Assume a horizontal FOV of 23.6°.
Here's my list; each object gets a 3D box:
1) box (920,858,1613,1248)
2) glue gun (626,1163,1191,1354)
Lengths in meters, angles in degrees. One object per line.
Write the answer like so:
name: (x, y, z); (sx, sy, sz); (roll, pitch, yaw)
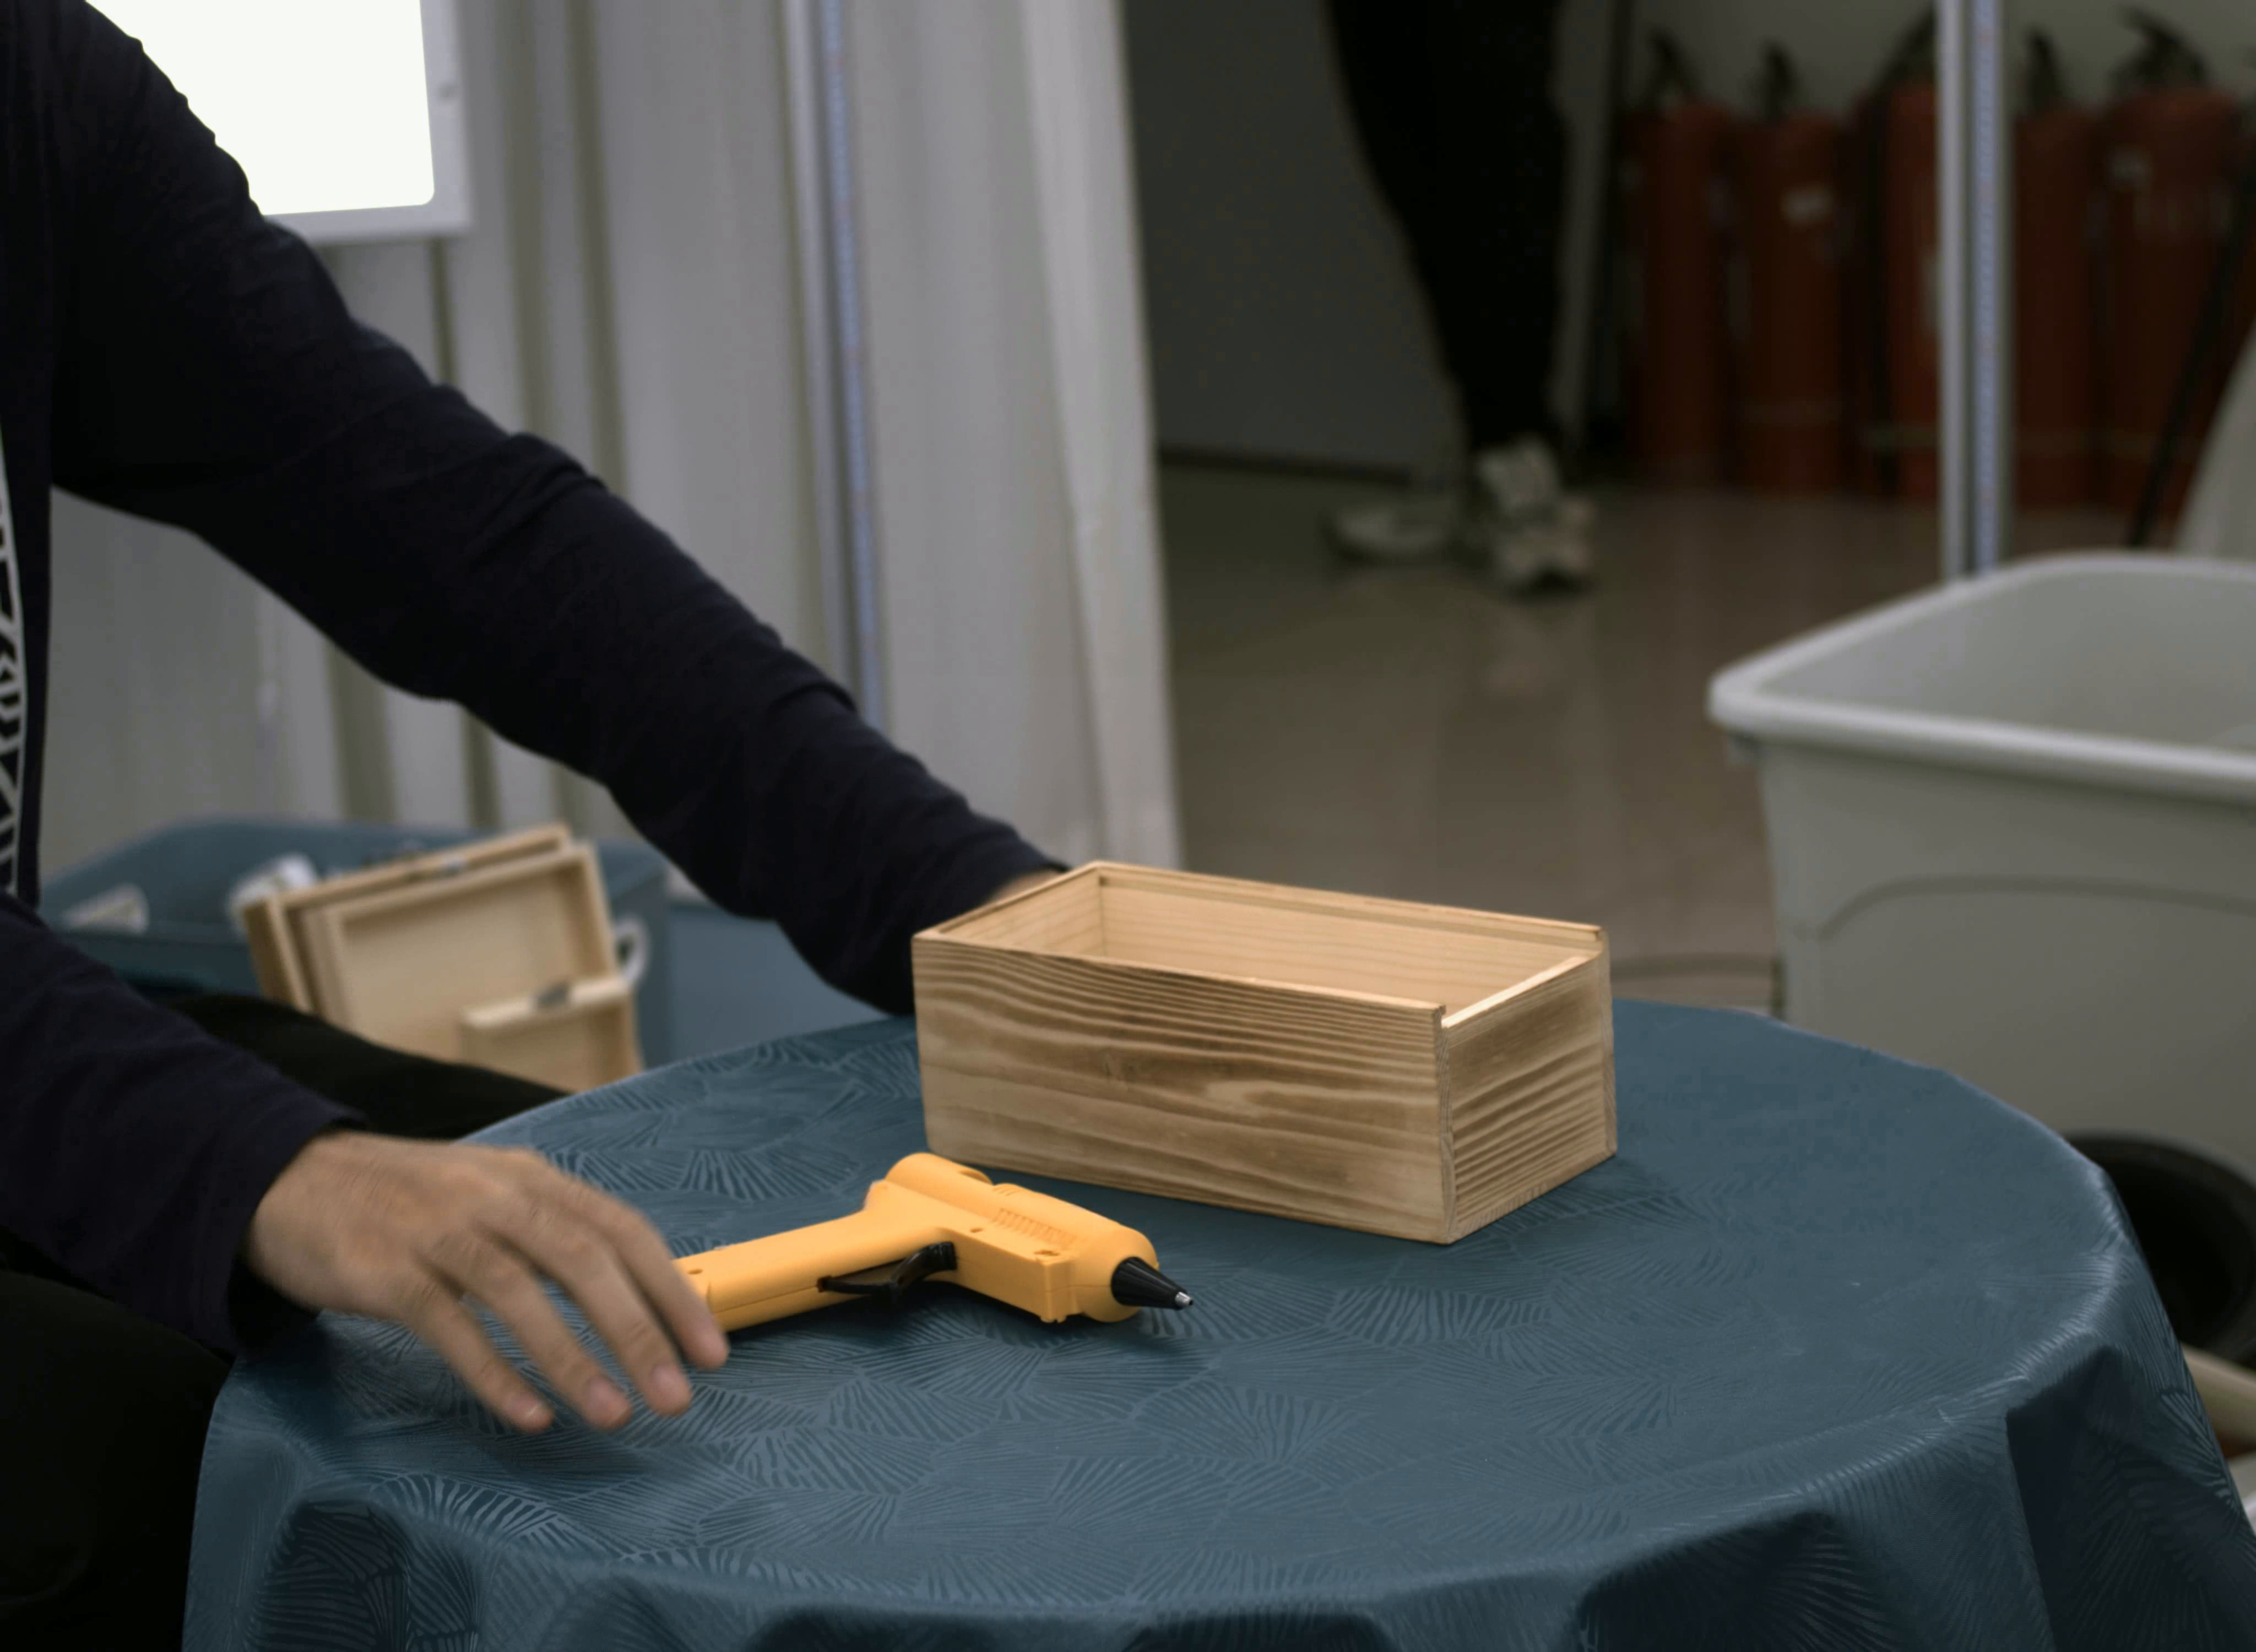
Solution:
box: (0.045, 0.073, 1.795); (0.213, 0.081, 0.105); (8, 18, 37)
glue gun: (-0.059, 0.143, 1.655); (0.130, 0.031, 0.153); (-16, 18, -39)
